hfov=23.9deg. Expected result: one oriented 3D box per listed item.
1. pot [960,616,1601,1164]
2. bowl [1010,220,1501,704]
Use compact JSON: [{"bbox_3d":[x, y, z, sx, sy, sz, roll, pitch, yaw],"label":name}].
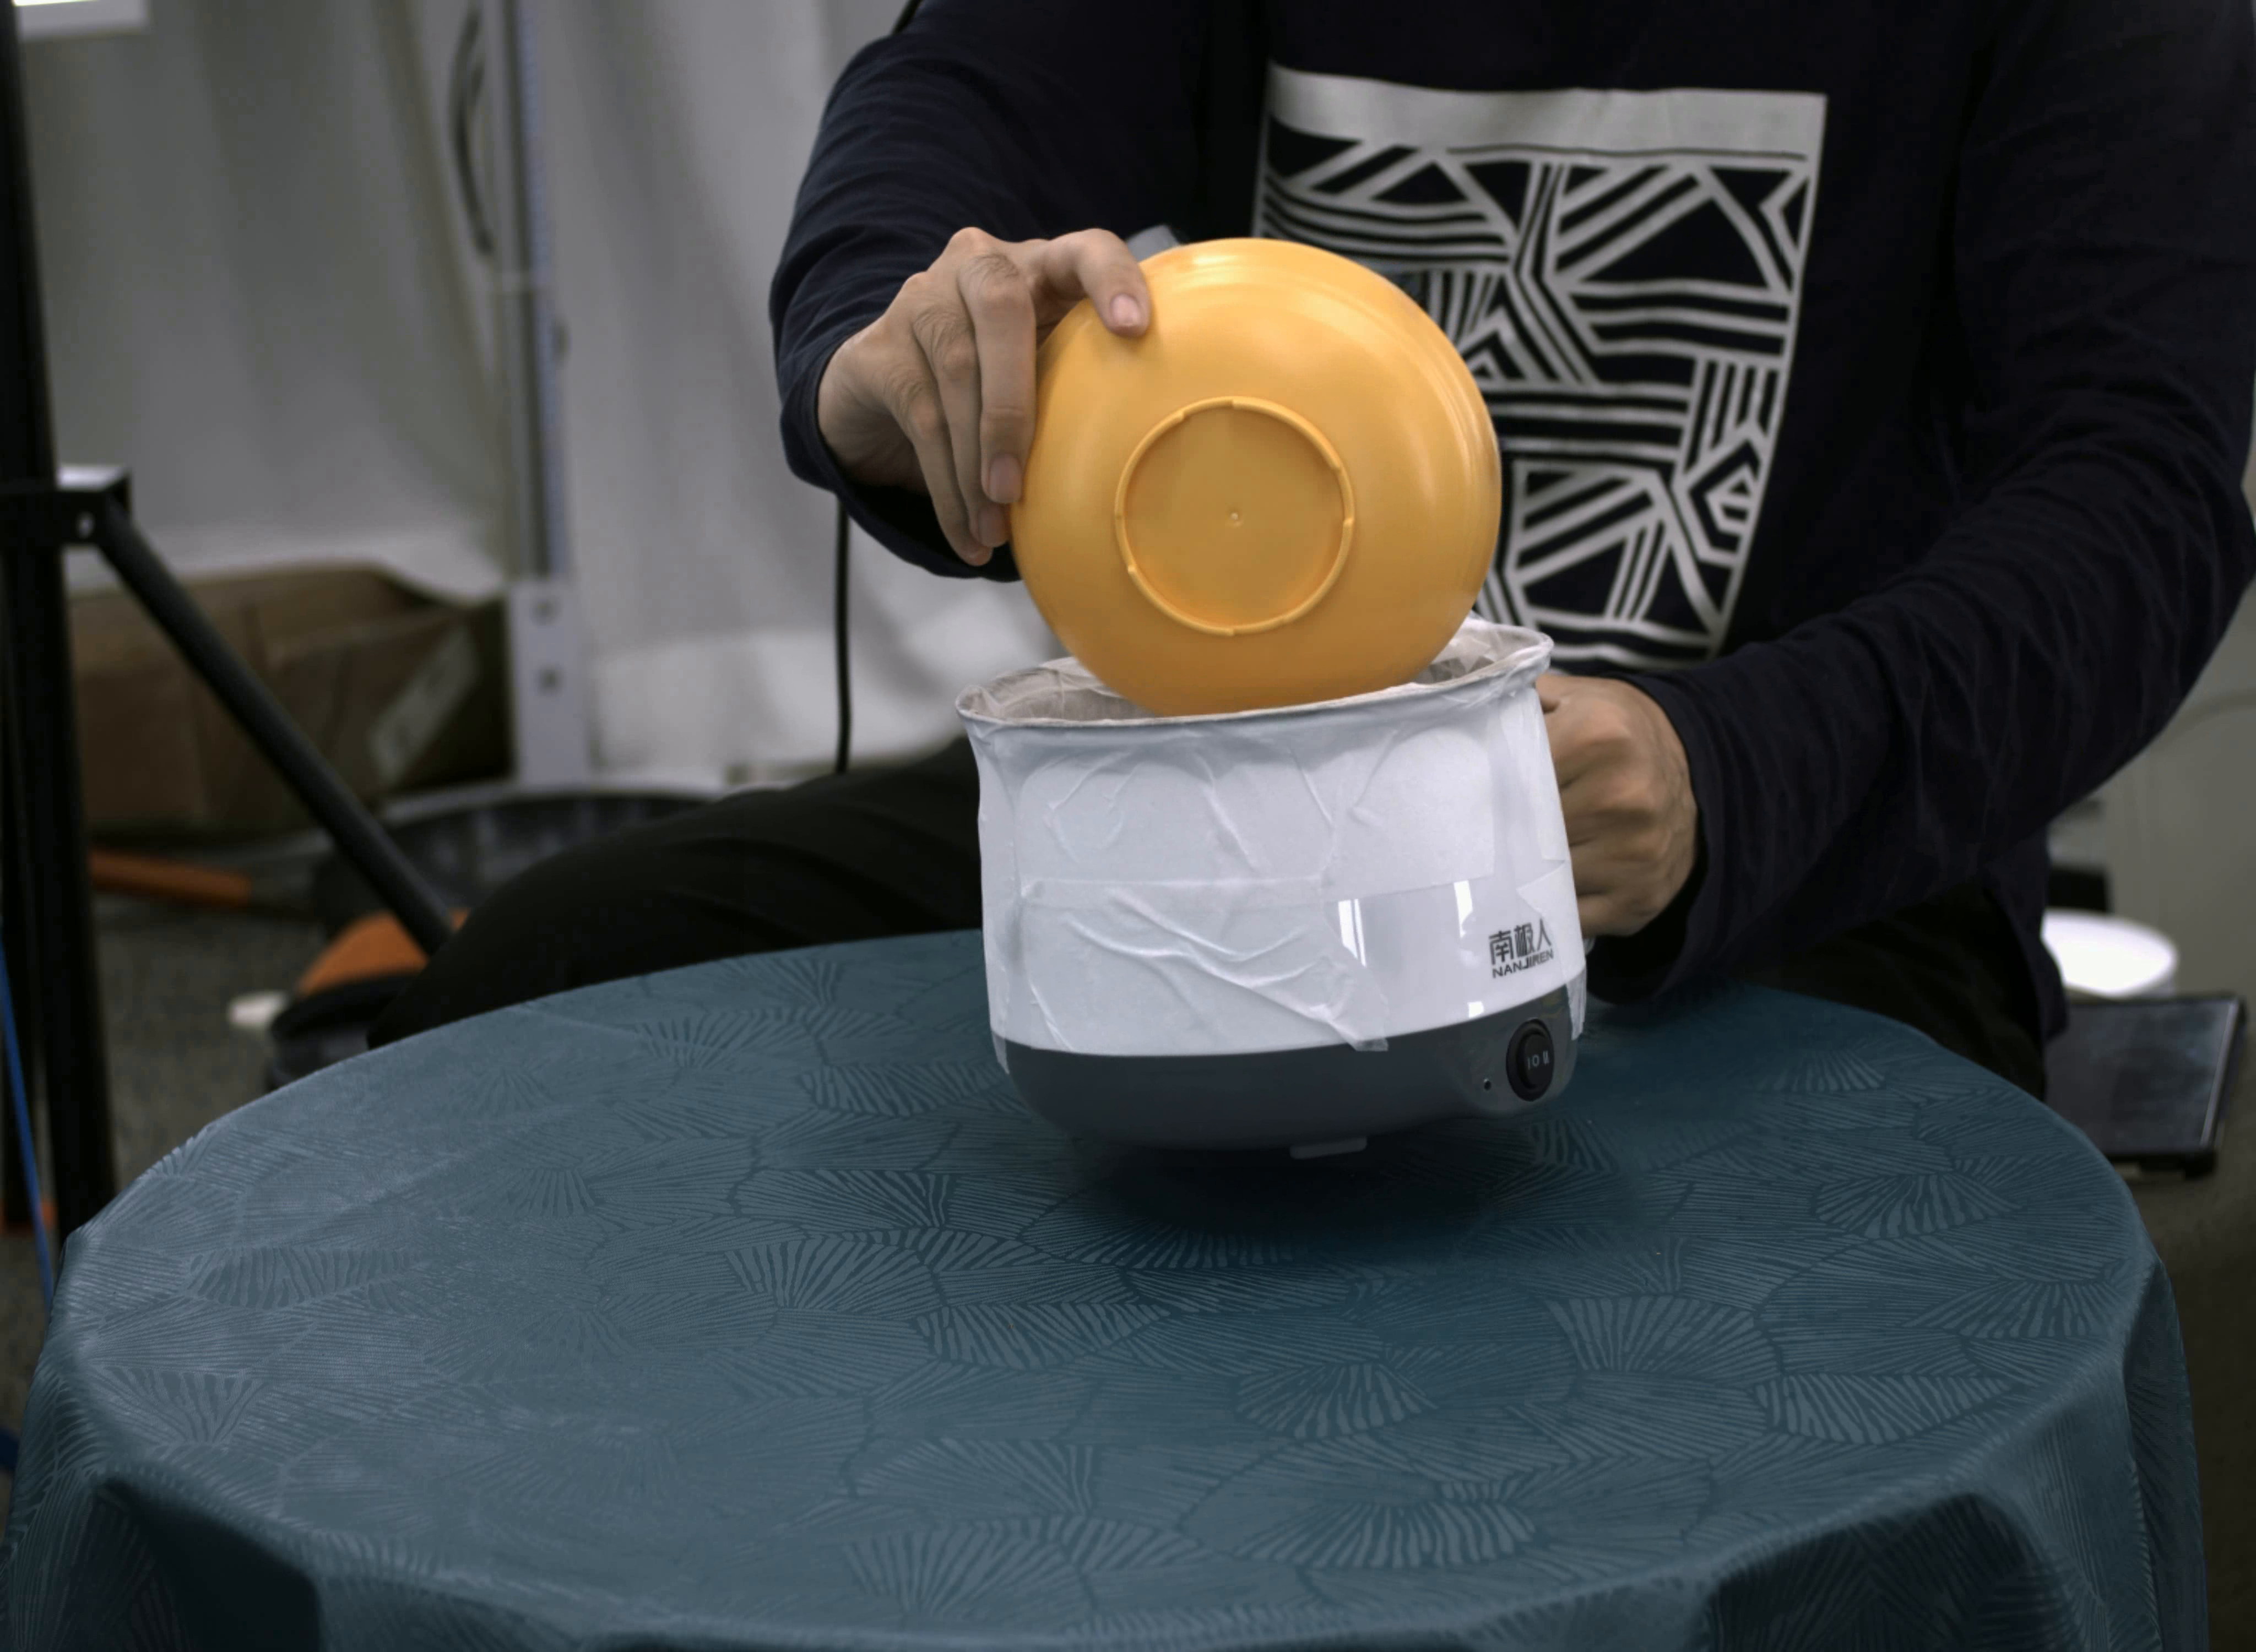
[{"bbox_3d":[0.061,0.015,1.585,0.182,0.137,0.228,1,9,40],"label":"pot"},{"bbox_3d":[0.031,-0.094,1.507,0.146,0.145,0.060,2,16,13],"label":"bowl"}]
